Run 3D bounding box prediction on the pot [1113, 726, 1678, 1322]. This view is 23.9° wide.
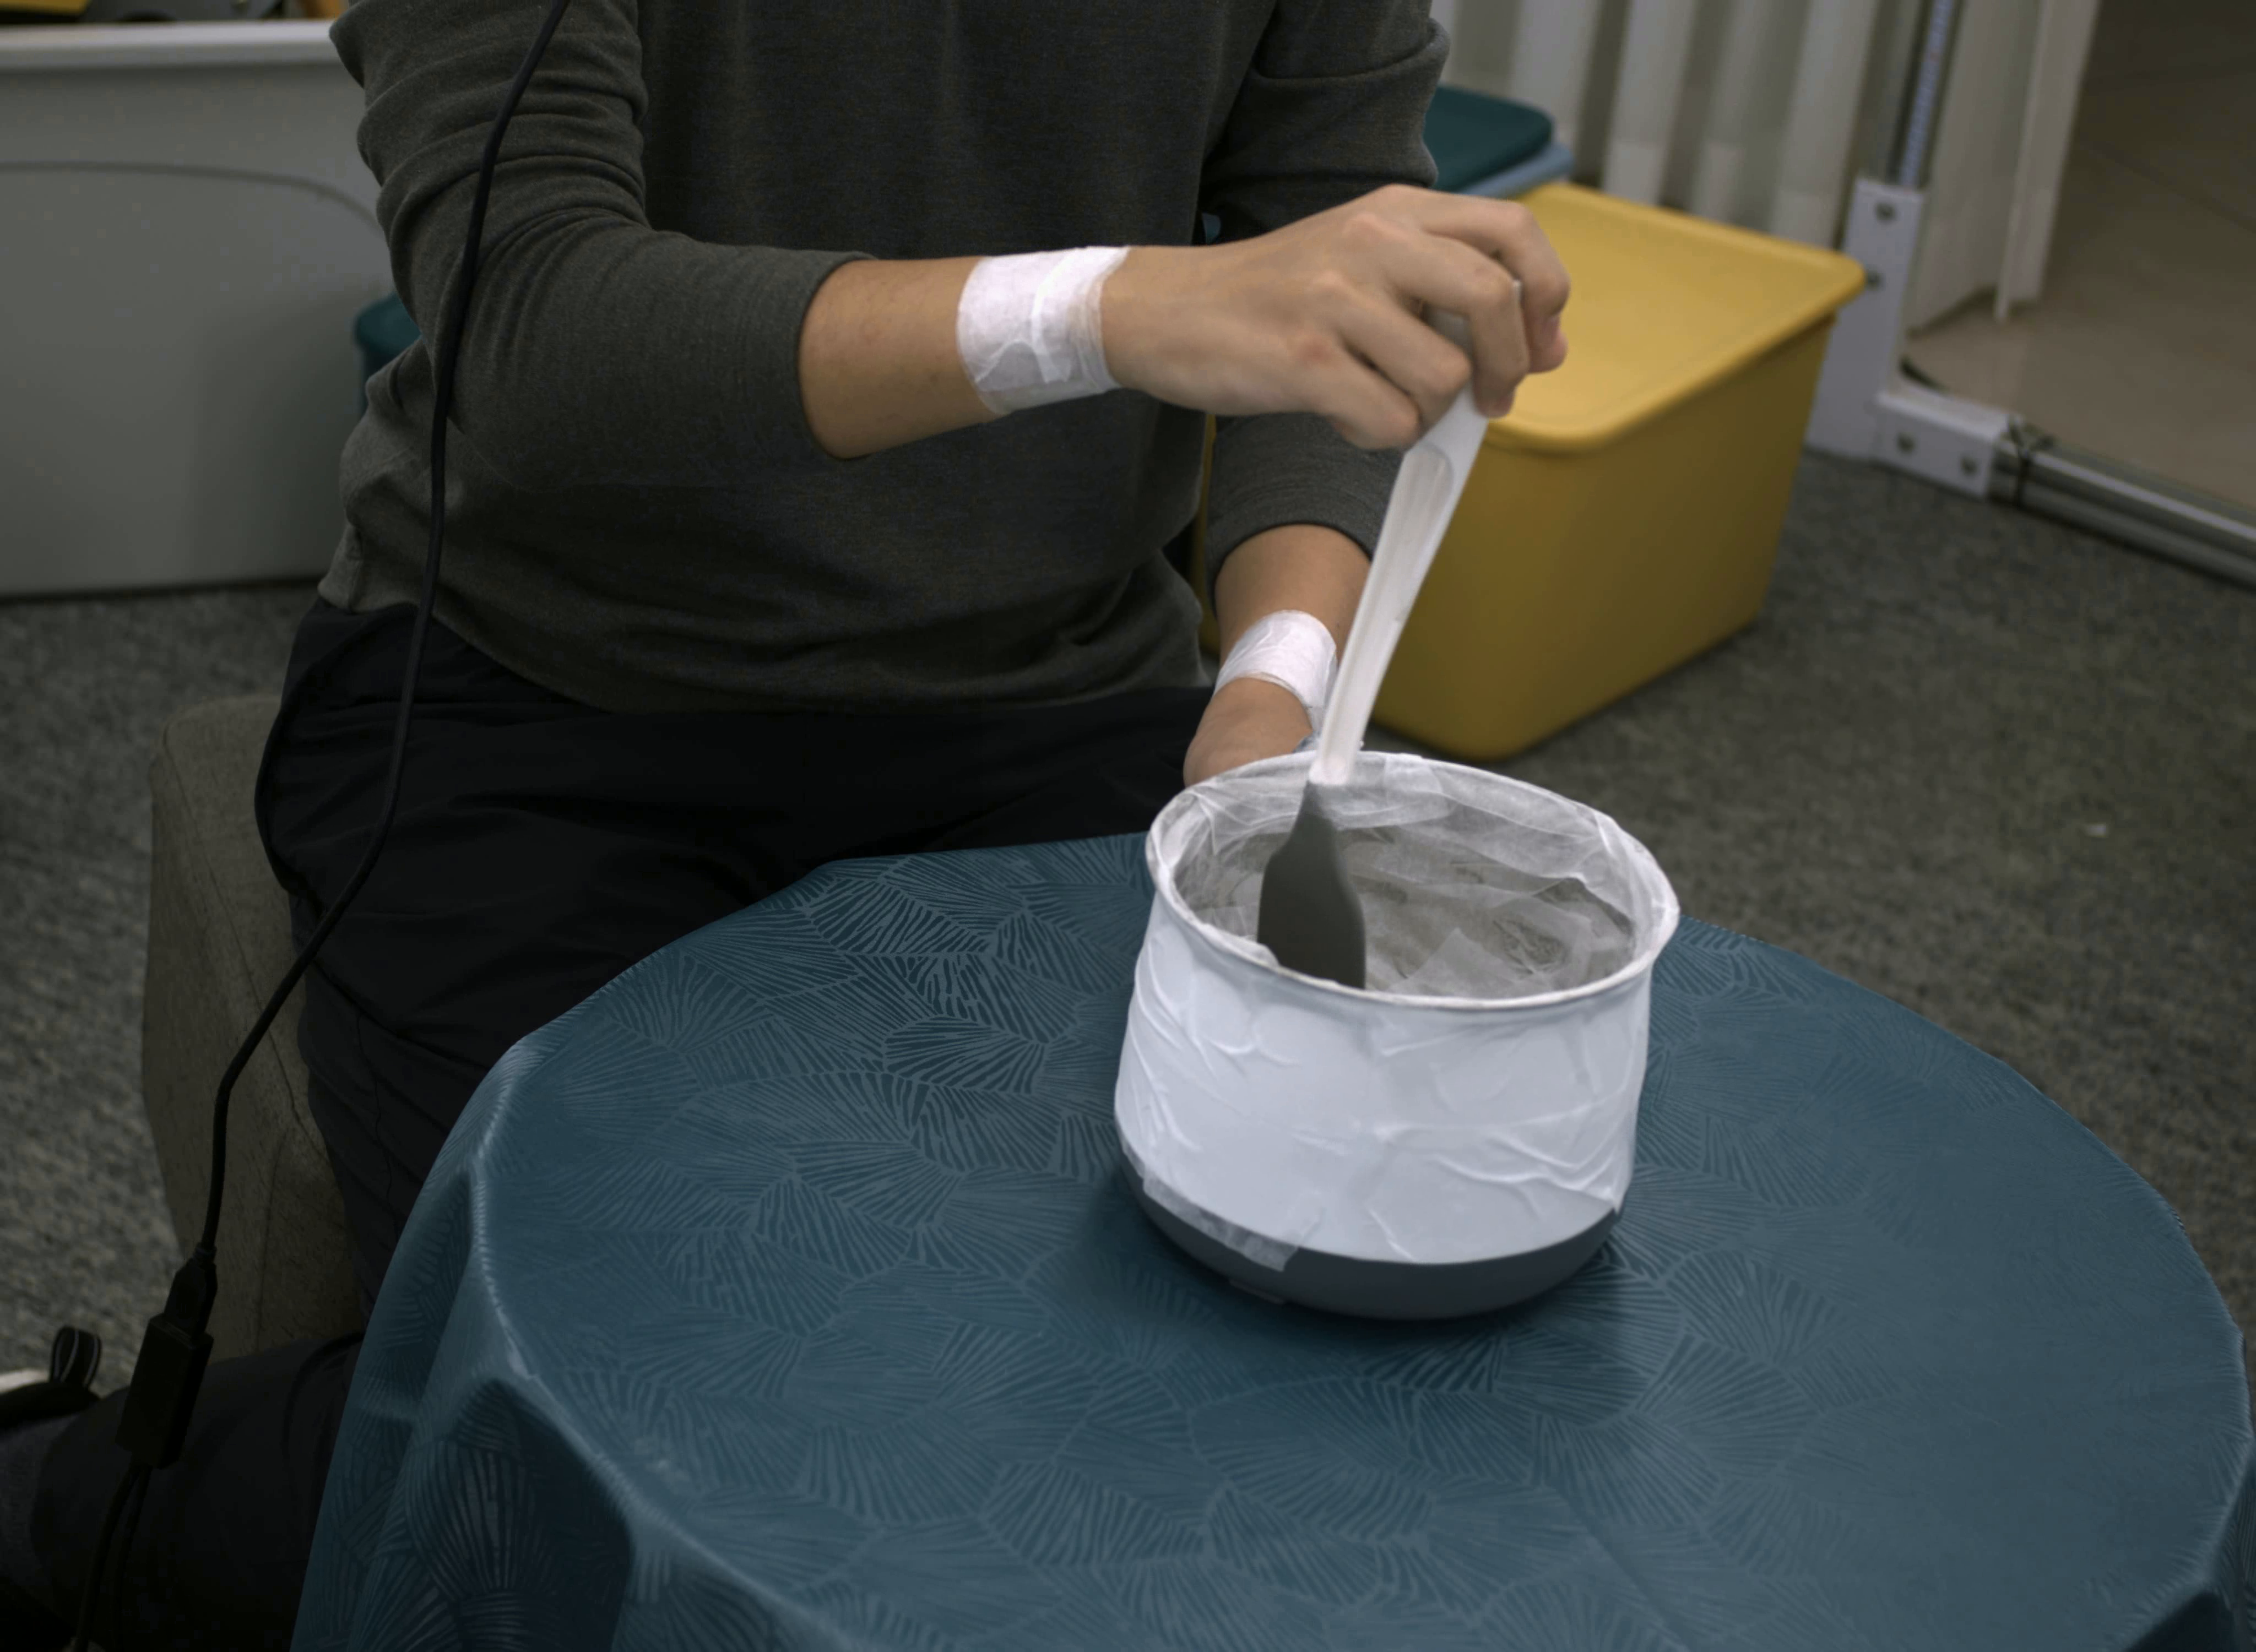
[{"bbox_3d":[0.080,0.059,1.801,0.178,0.136,0.235,-1,27,-15],"label":"pot"}]

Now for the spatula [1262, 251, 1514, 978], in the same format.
[{"bbox_3d":[0.081,-0.047,1.744,0.032,0.287,0.059,-9,28,-43],"label":"spatula"}]
